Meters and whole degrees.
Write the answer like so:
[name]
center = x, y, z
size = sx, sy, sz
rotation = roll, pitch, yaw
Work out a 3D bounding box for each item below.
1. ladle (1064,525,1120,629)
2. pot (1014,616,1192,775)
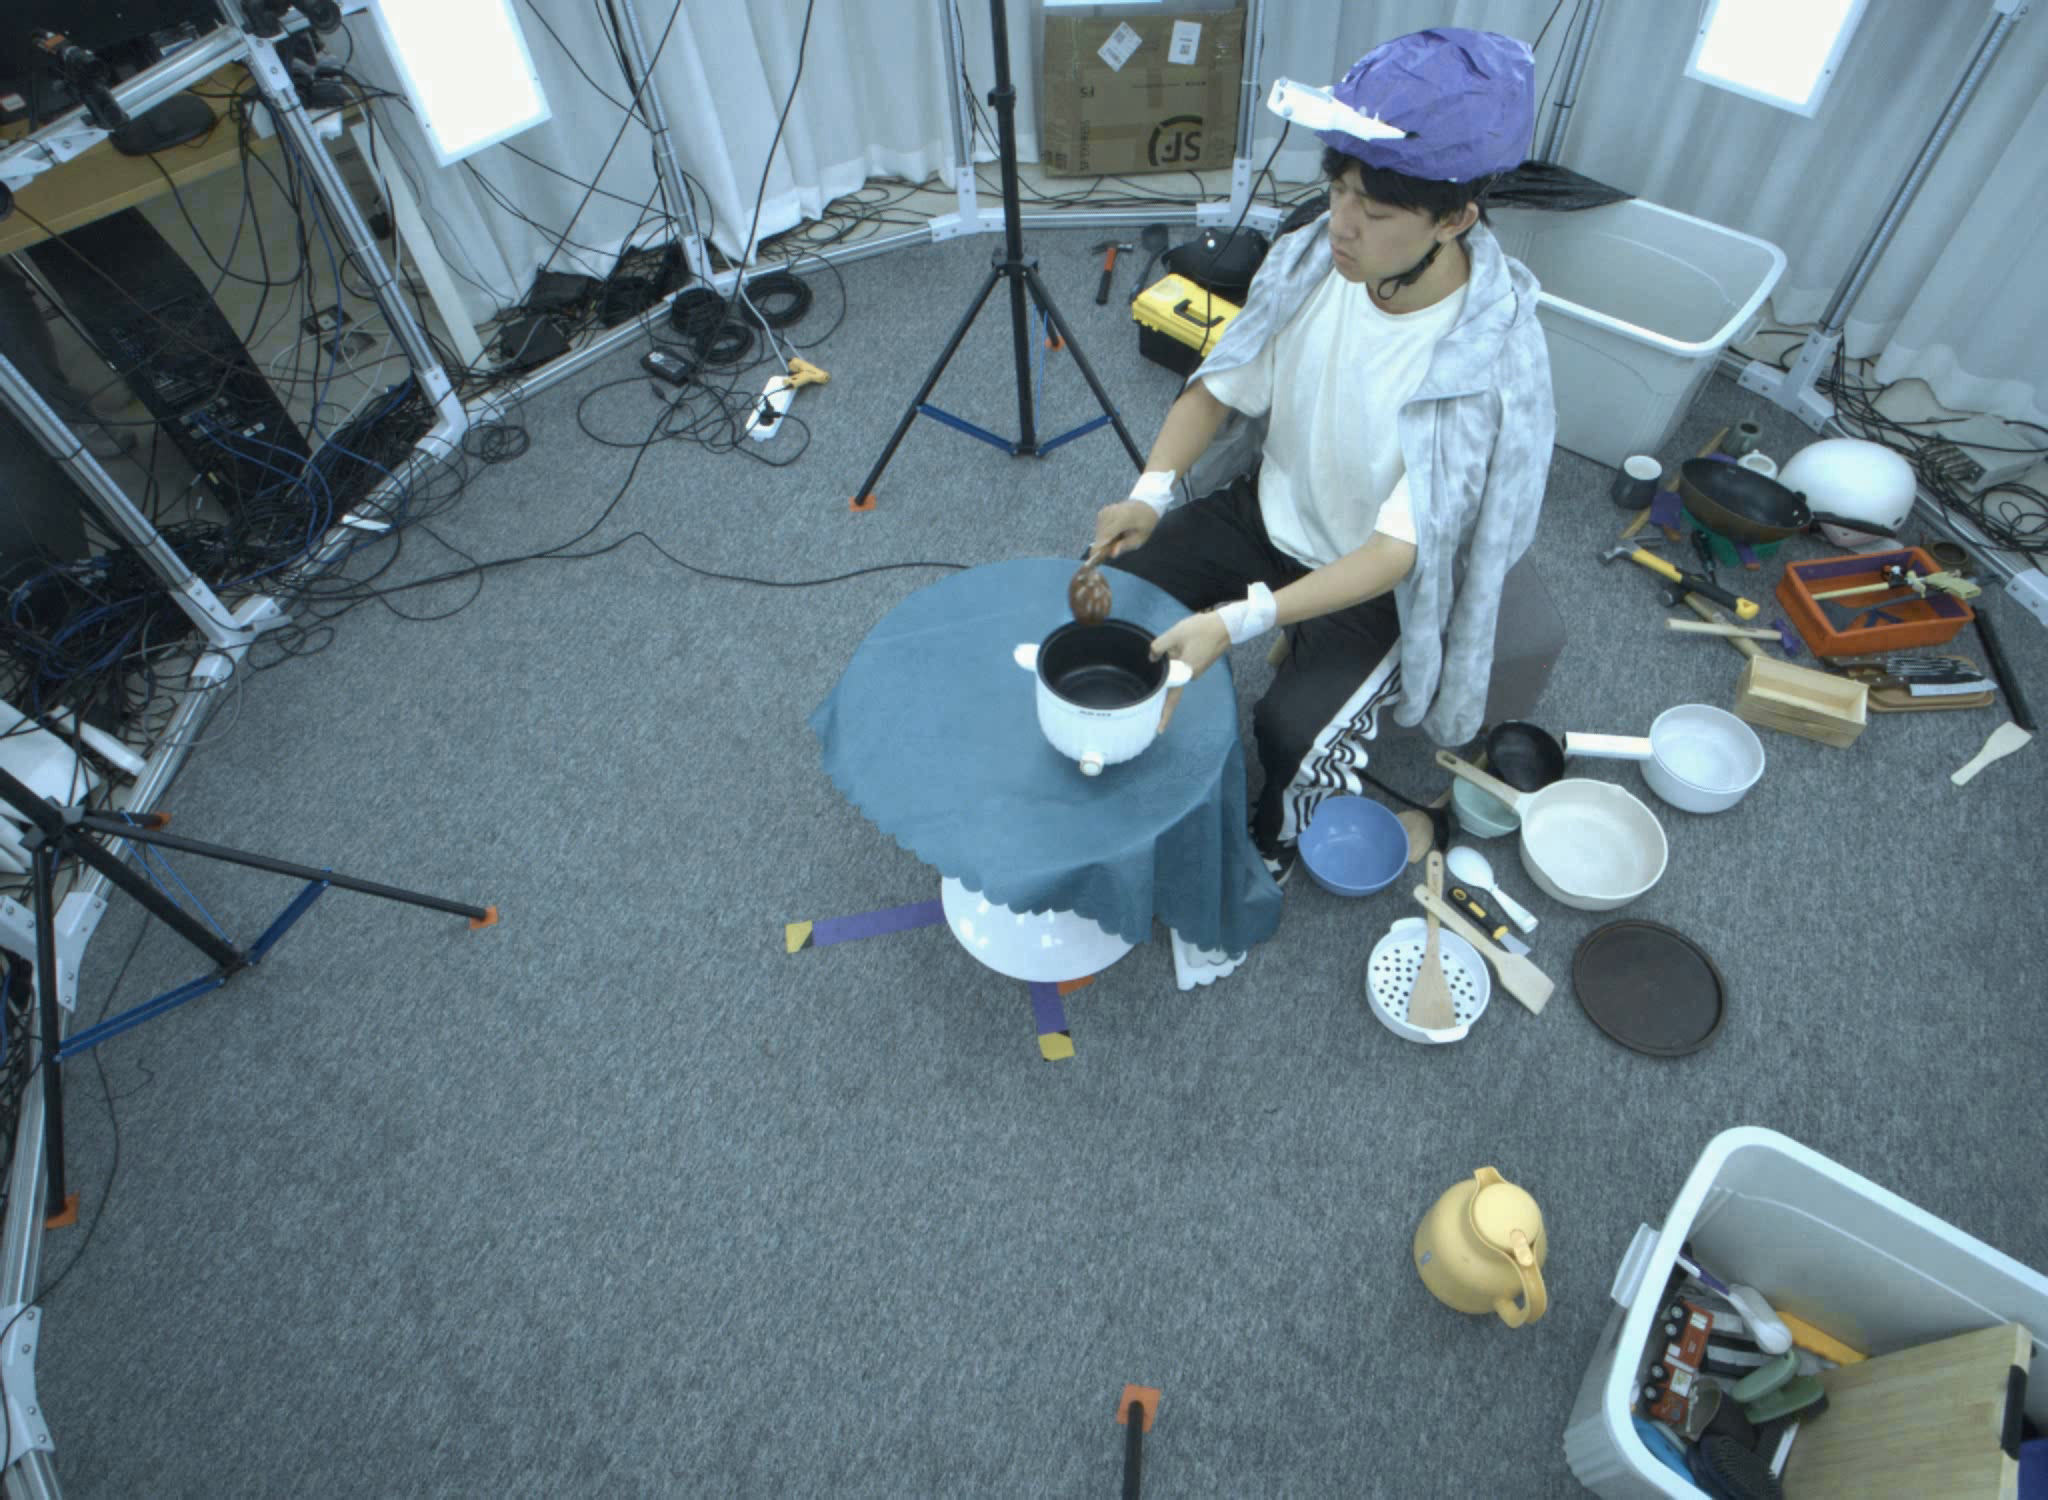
[ladle]
center = 0.121, -0.259, 1.763
size = 0.076, 0.082, 0.275
rotation = 31, 36, 4
[pot]
center = 0.106, -0.072, 1.702
size = 0.239, 0.144, 0.189
rotation = 6, 45, 6
